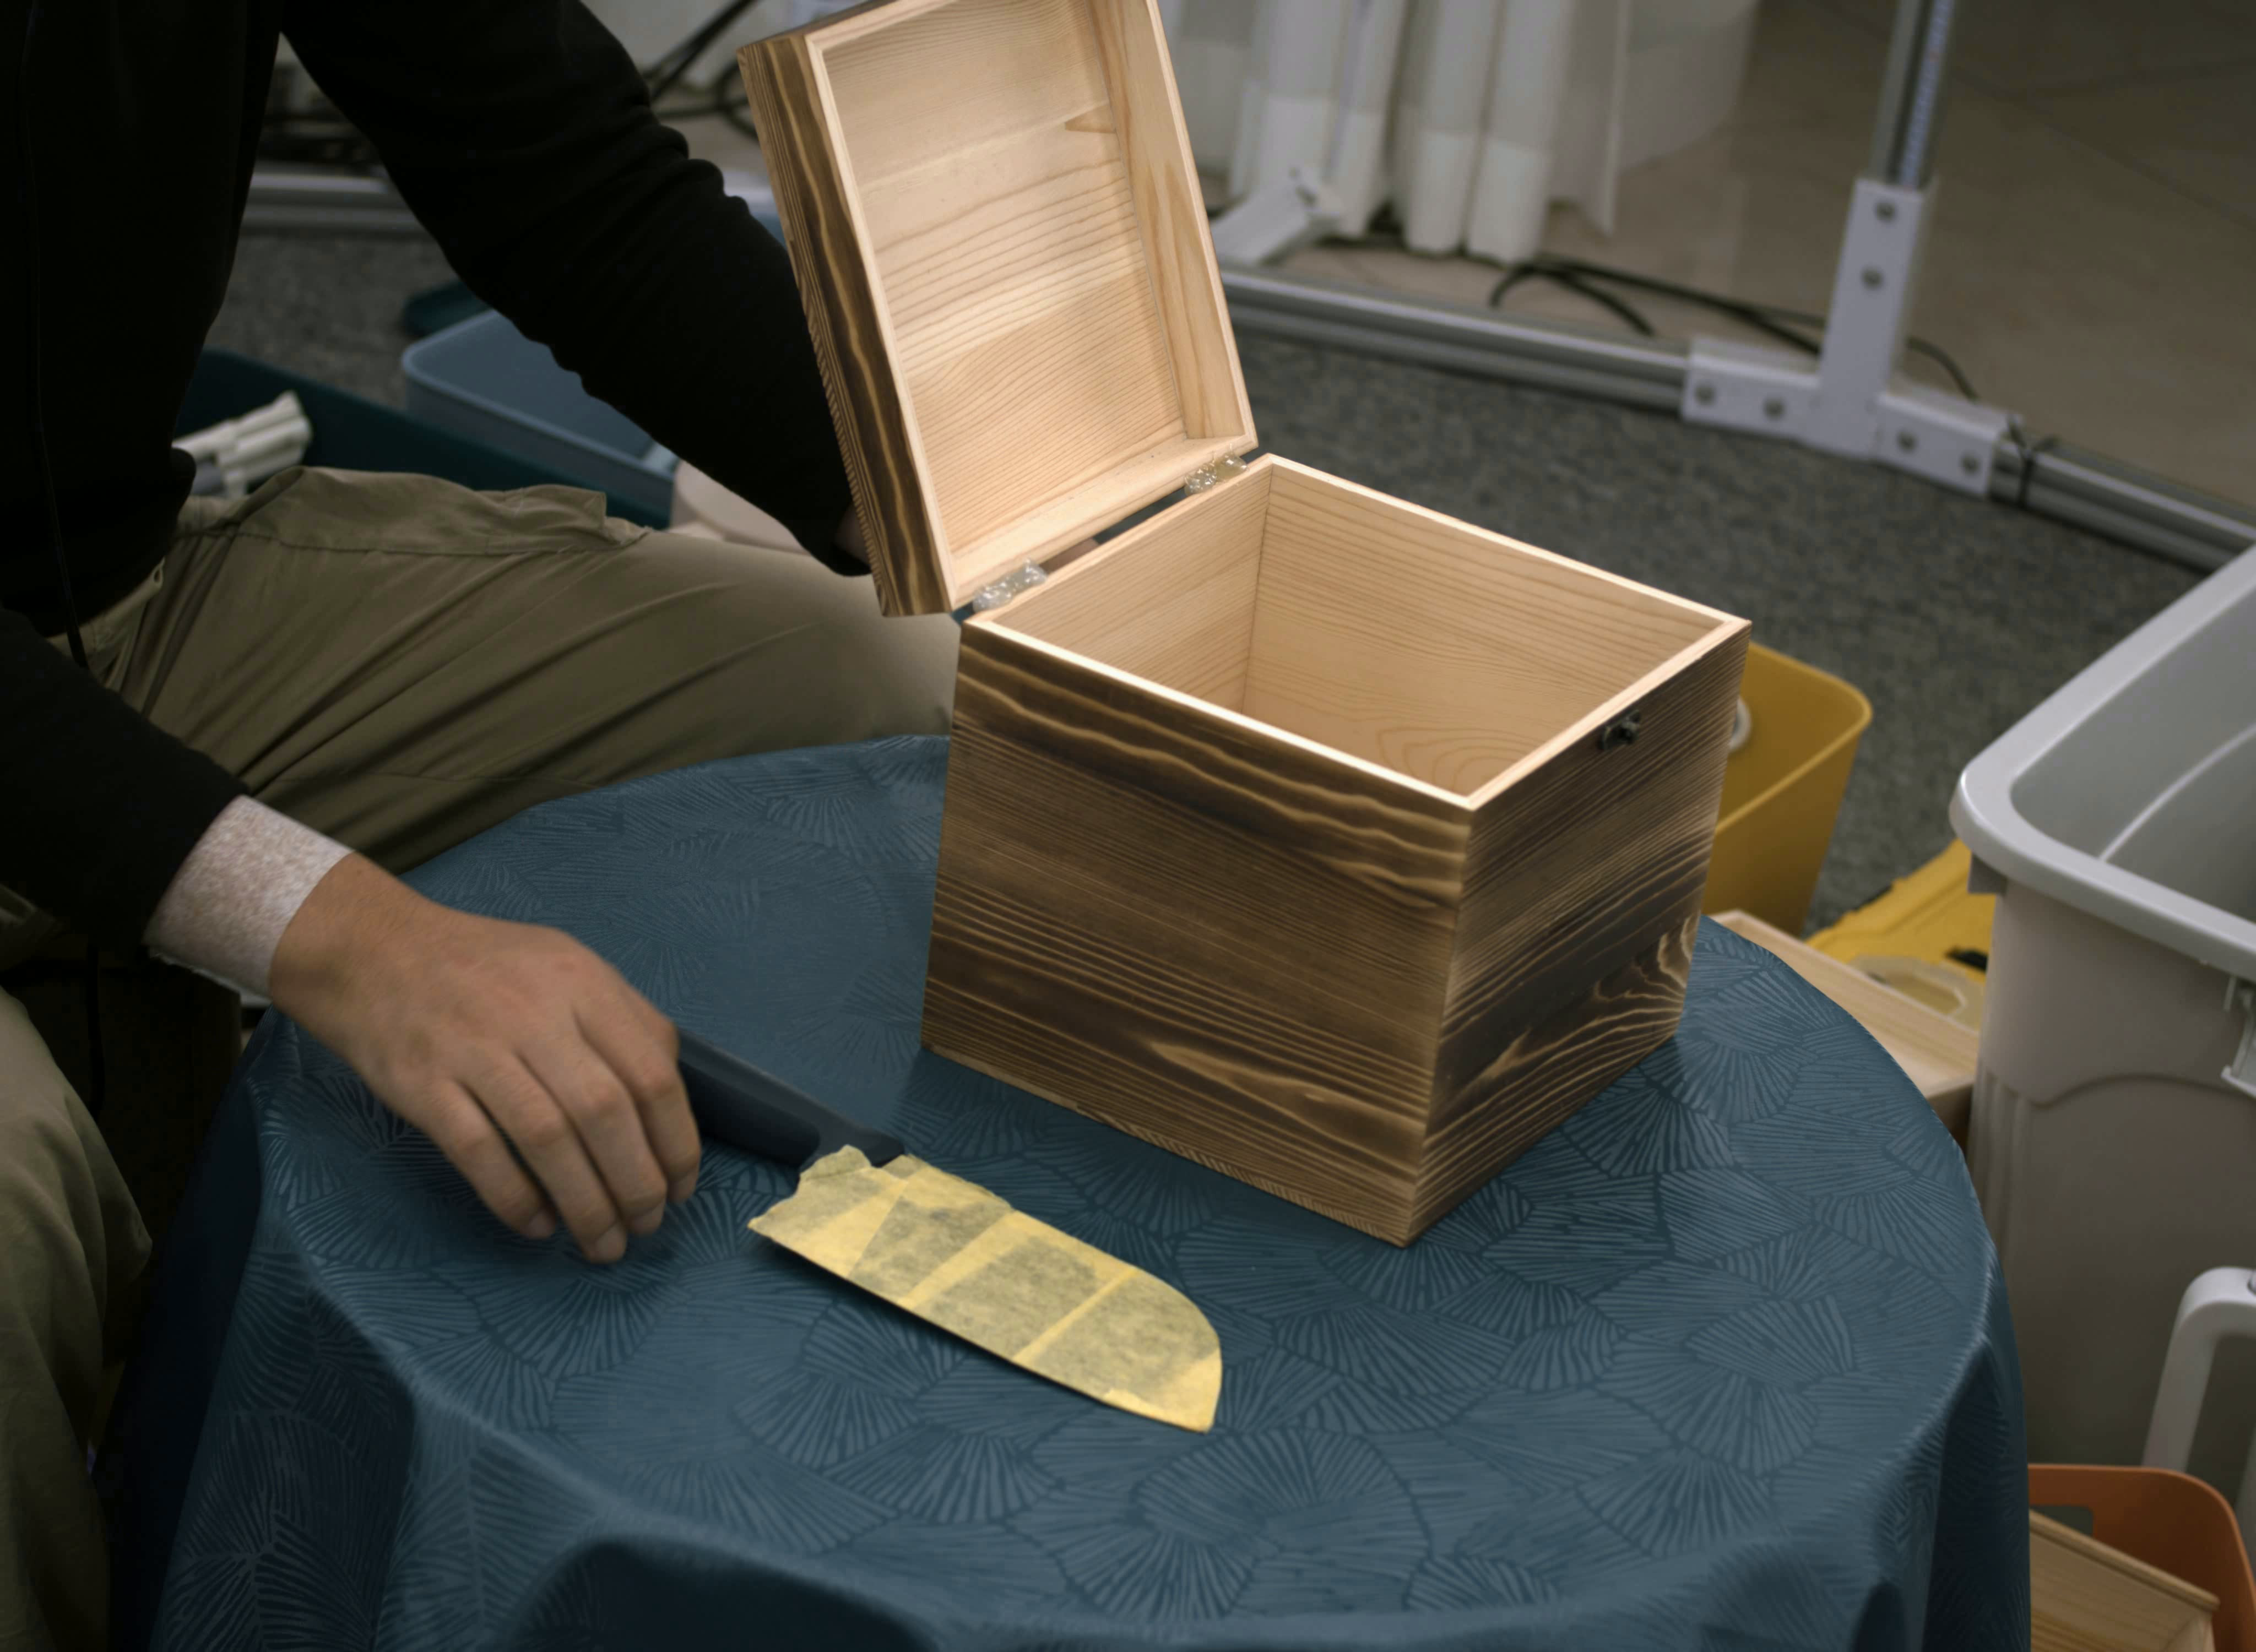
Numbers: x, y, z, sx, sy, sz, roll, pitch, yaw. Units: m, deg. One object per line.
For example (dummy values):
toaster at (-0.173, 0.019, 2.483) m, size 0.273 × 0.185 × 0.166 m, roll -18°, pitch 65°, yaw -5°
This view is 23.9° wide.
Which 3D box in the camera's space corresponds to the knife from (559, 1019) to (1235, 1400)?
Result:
knife at (-0.084, 0.128, 1.759) m, size 0.291 × 0.027 × 0.081 m, roll 24°, pitch 30°, yaw 29°

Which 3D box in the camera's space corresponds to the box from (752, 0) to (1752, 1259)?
box at (0.038, -0.097, 1.848) m, size 0.324 × 0.374 × 0.208 m, roll 20°, pitch 30°, yaw 27°
